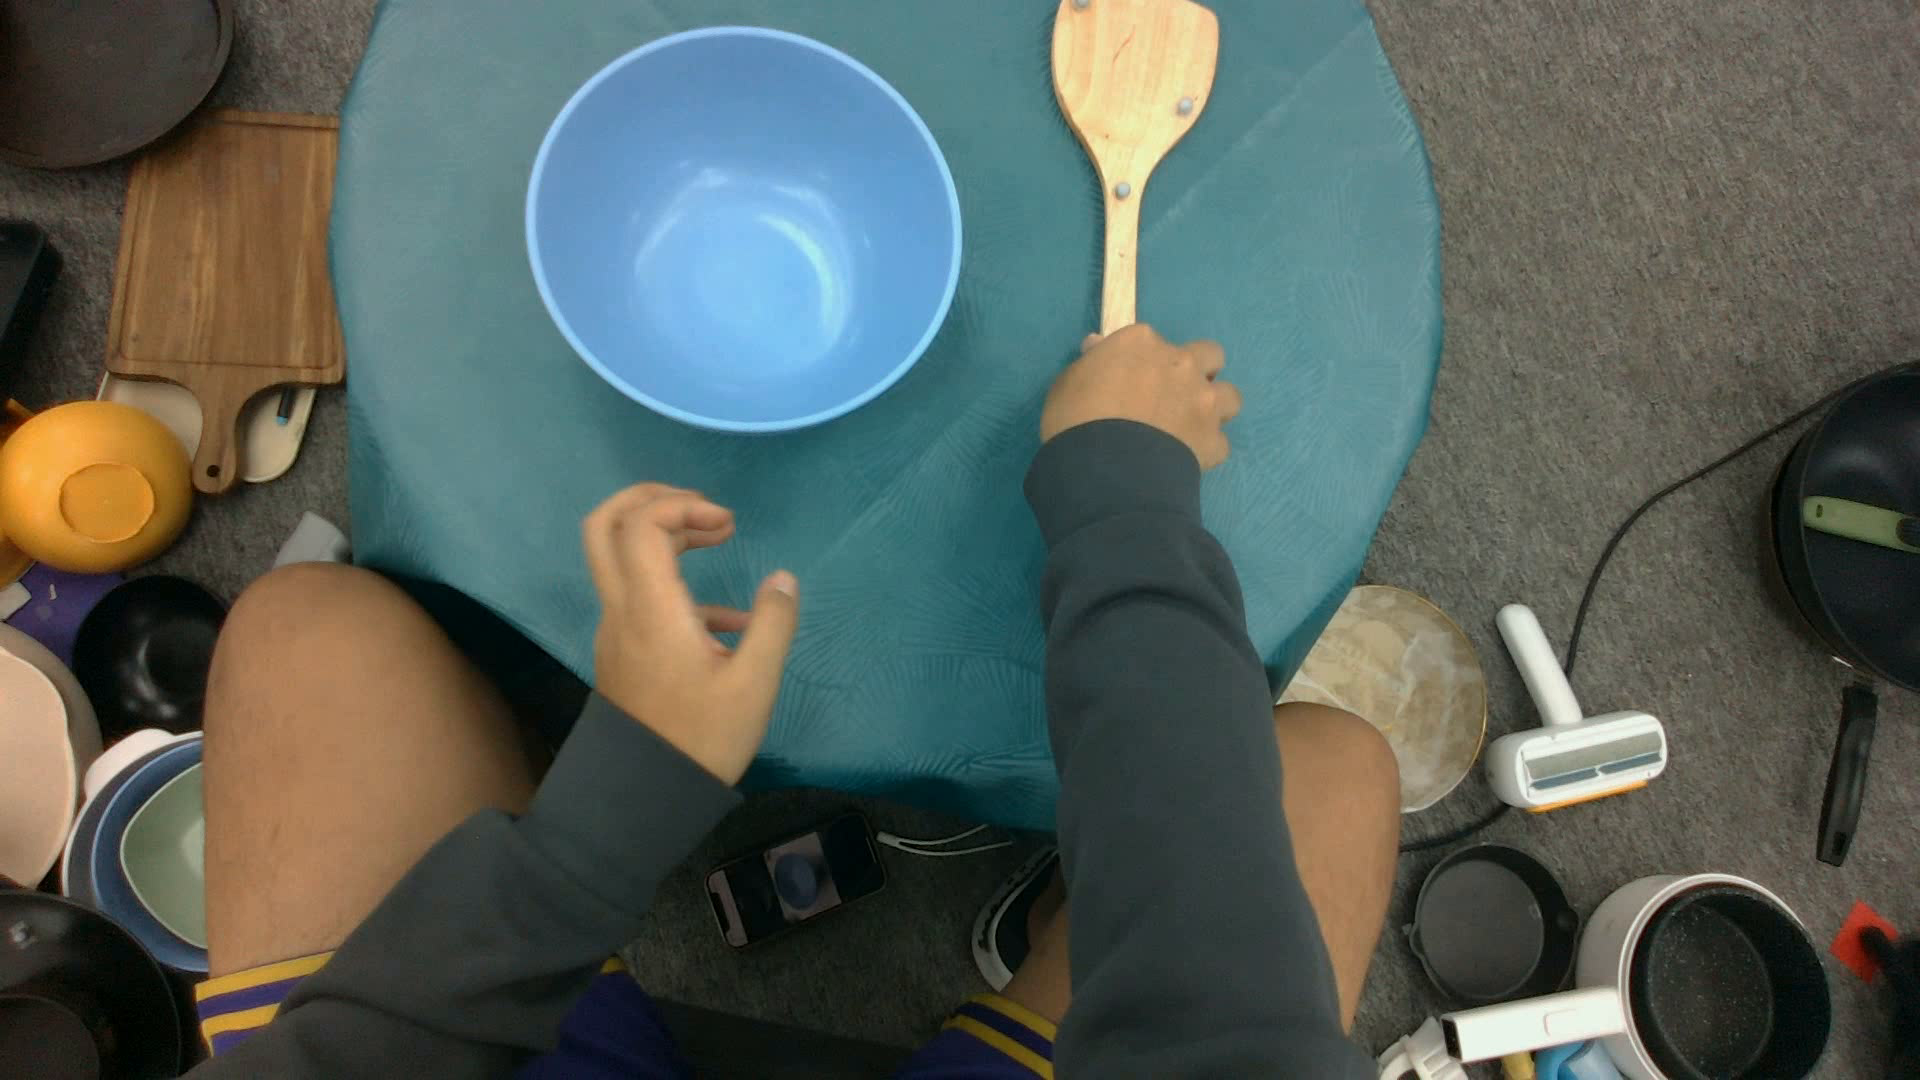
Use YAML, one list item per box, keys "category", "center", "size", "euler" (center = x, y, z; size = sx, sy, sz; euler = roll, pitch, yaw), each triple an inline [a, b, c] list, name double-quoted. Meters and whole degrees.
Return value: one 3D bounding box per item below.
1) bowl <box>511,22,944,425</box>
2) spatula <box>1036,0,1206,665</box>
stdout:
- category: "bowl"
  center: [-0.113, -0.140, 0.675]
  size: [0.196, 0.095, 0.197]
  euler: [3, 77, -12]
- category: "spatula"
  center: [0.081, -0.127, 0.739]
  size: [0.096, 0.018, 0.391]
  euler: [5, 76, -5]
